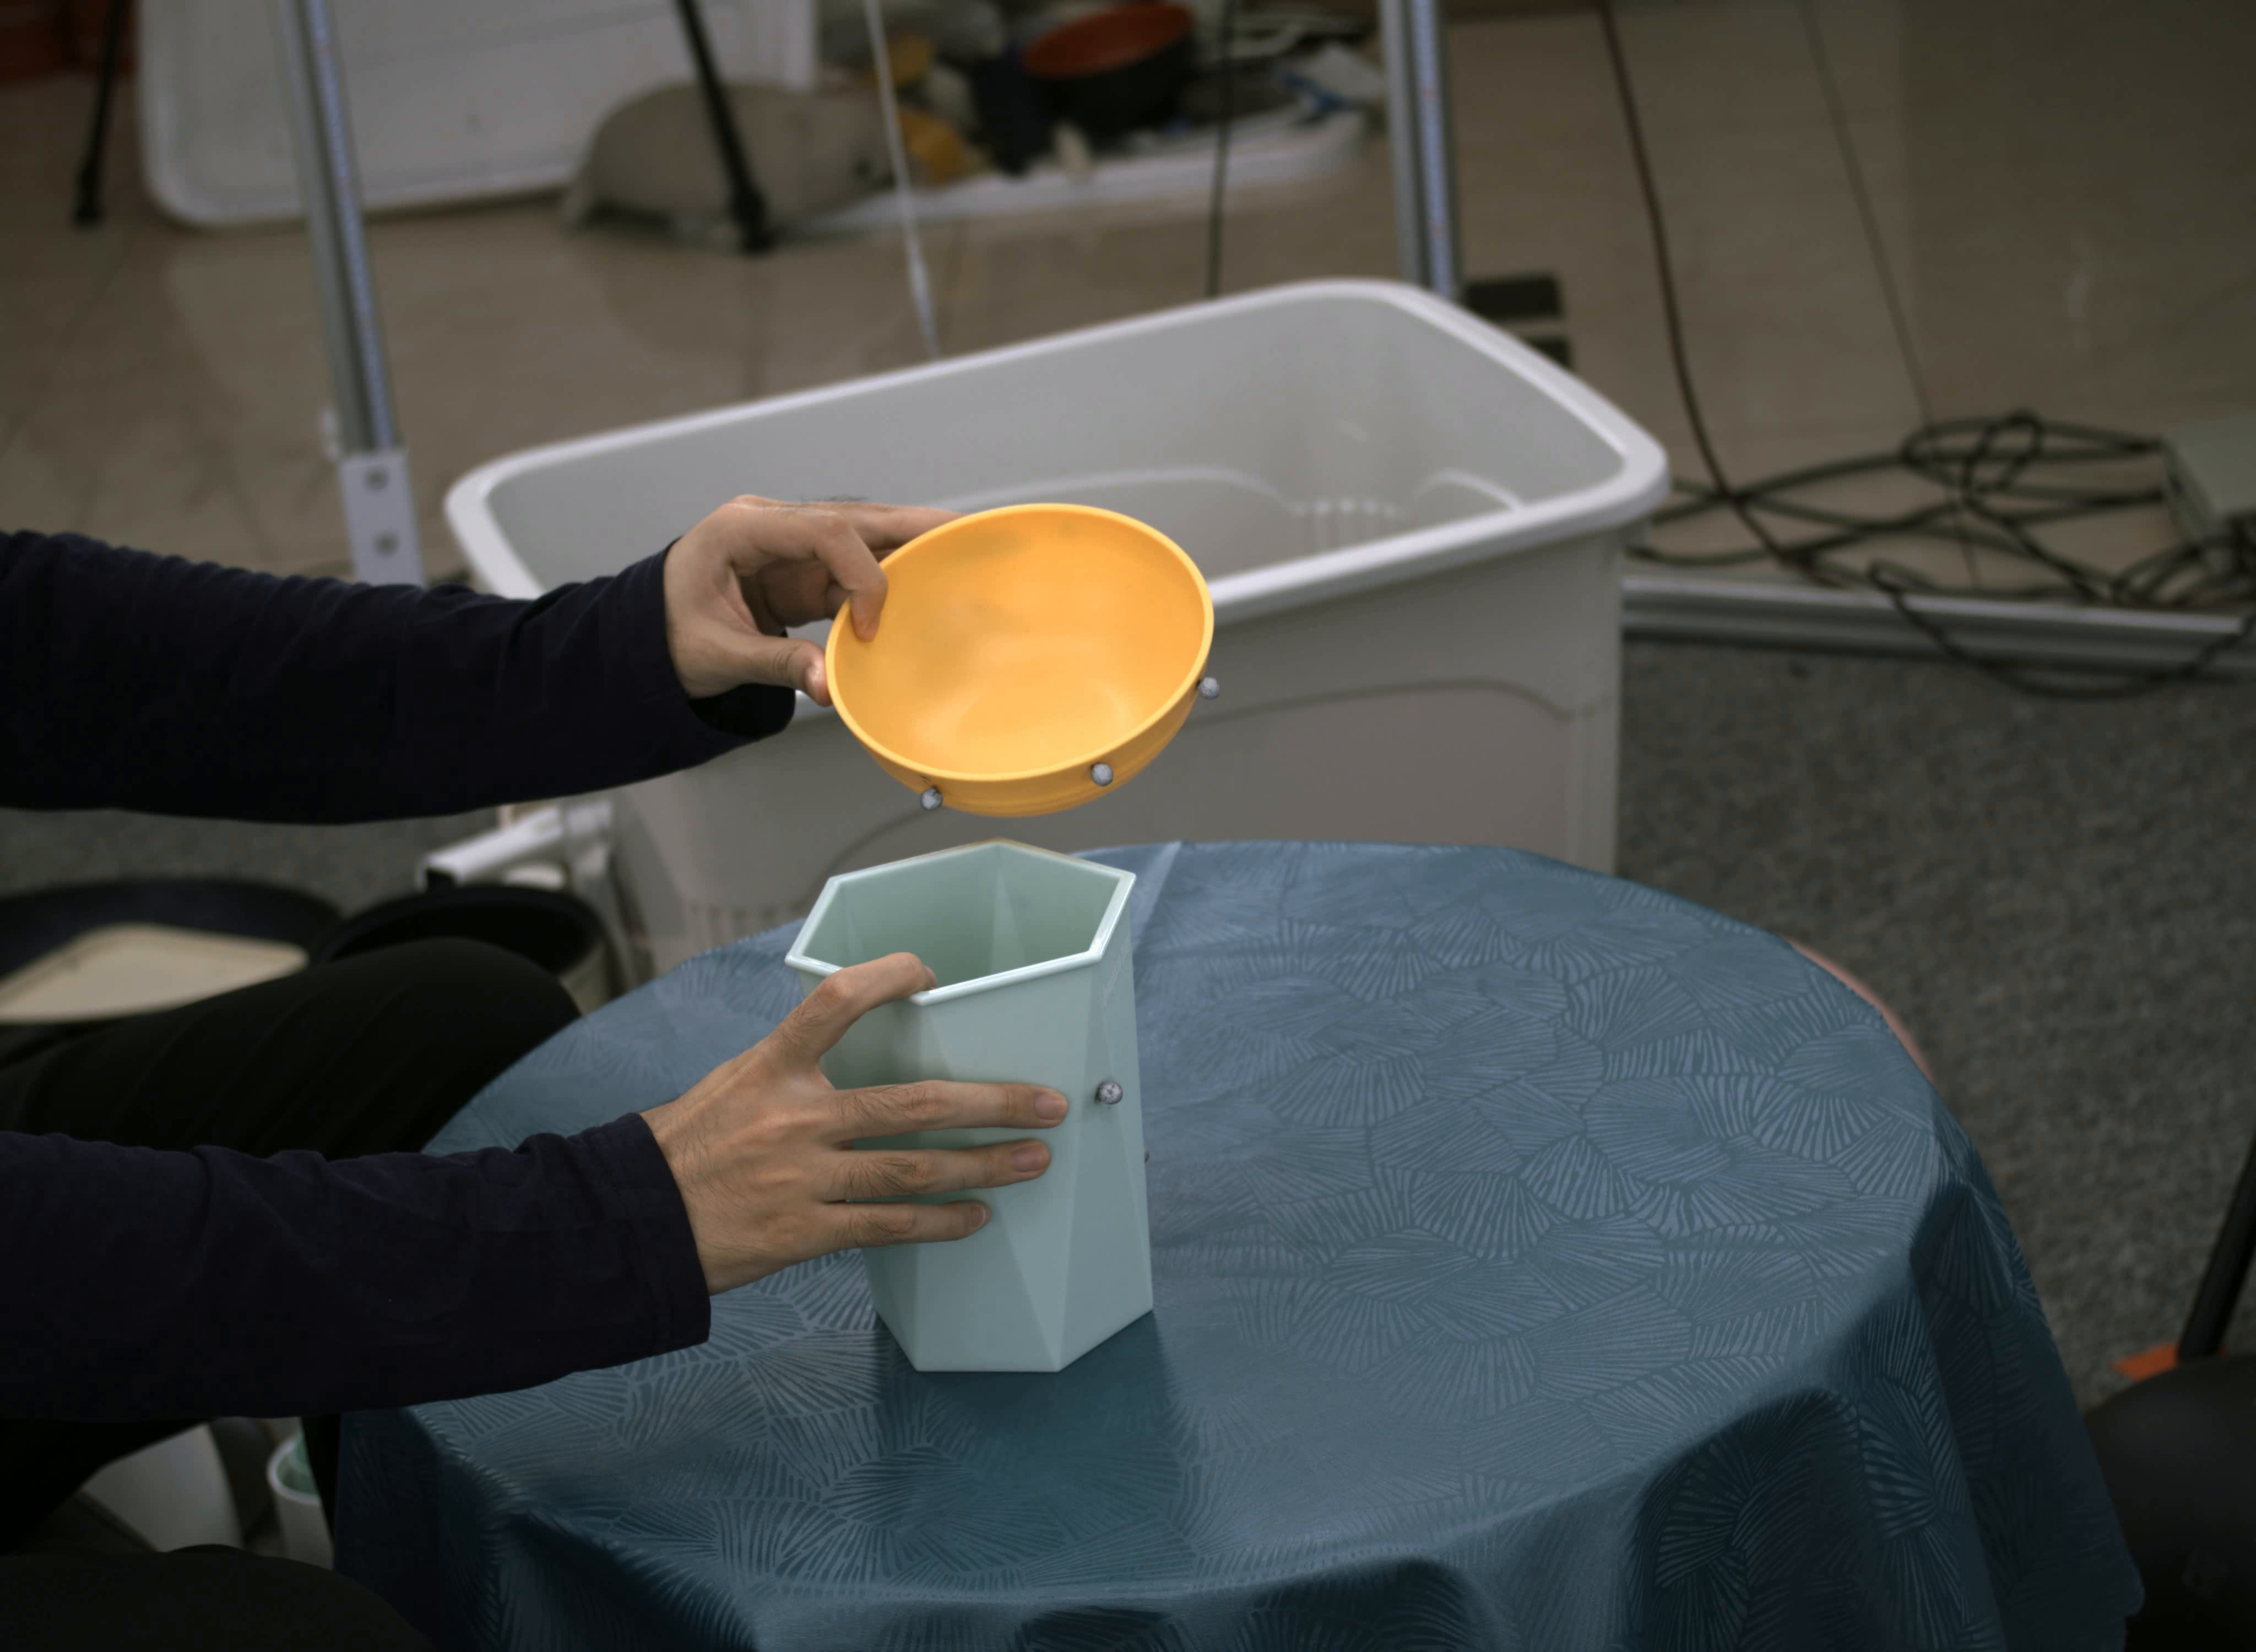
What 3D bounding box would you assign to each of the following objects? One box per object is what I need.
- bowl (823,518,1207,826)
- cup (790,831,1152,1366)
[{"bbox_3d":[-0.037,-0.046,2.097,0.145,0.061,0.142,-8,44,7],"label":"bowl"},{"bbox_3d":[-0.049,0.101,2.041,0.115,0.165,0.129,-1,26,12],"label":"cup"}]
